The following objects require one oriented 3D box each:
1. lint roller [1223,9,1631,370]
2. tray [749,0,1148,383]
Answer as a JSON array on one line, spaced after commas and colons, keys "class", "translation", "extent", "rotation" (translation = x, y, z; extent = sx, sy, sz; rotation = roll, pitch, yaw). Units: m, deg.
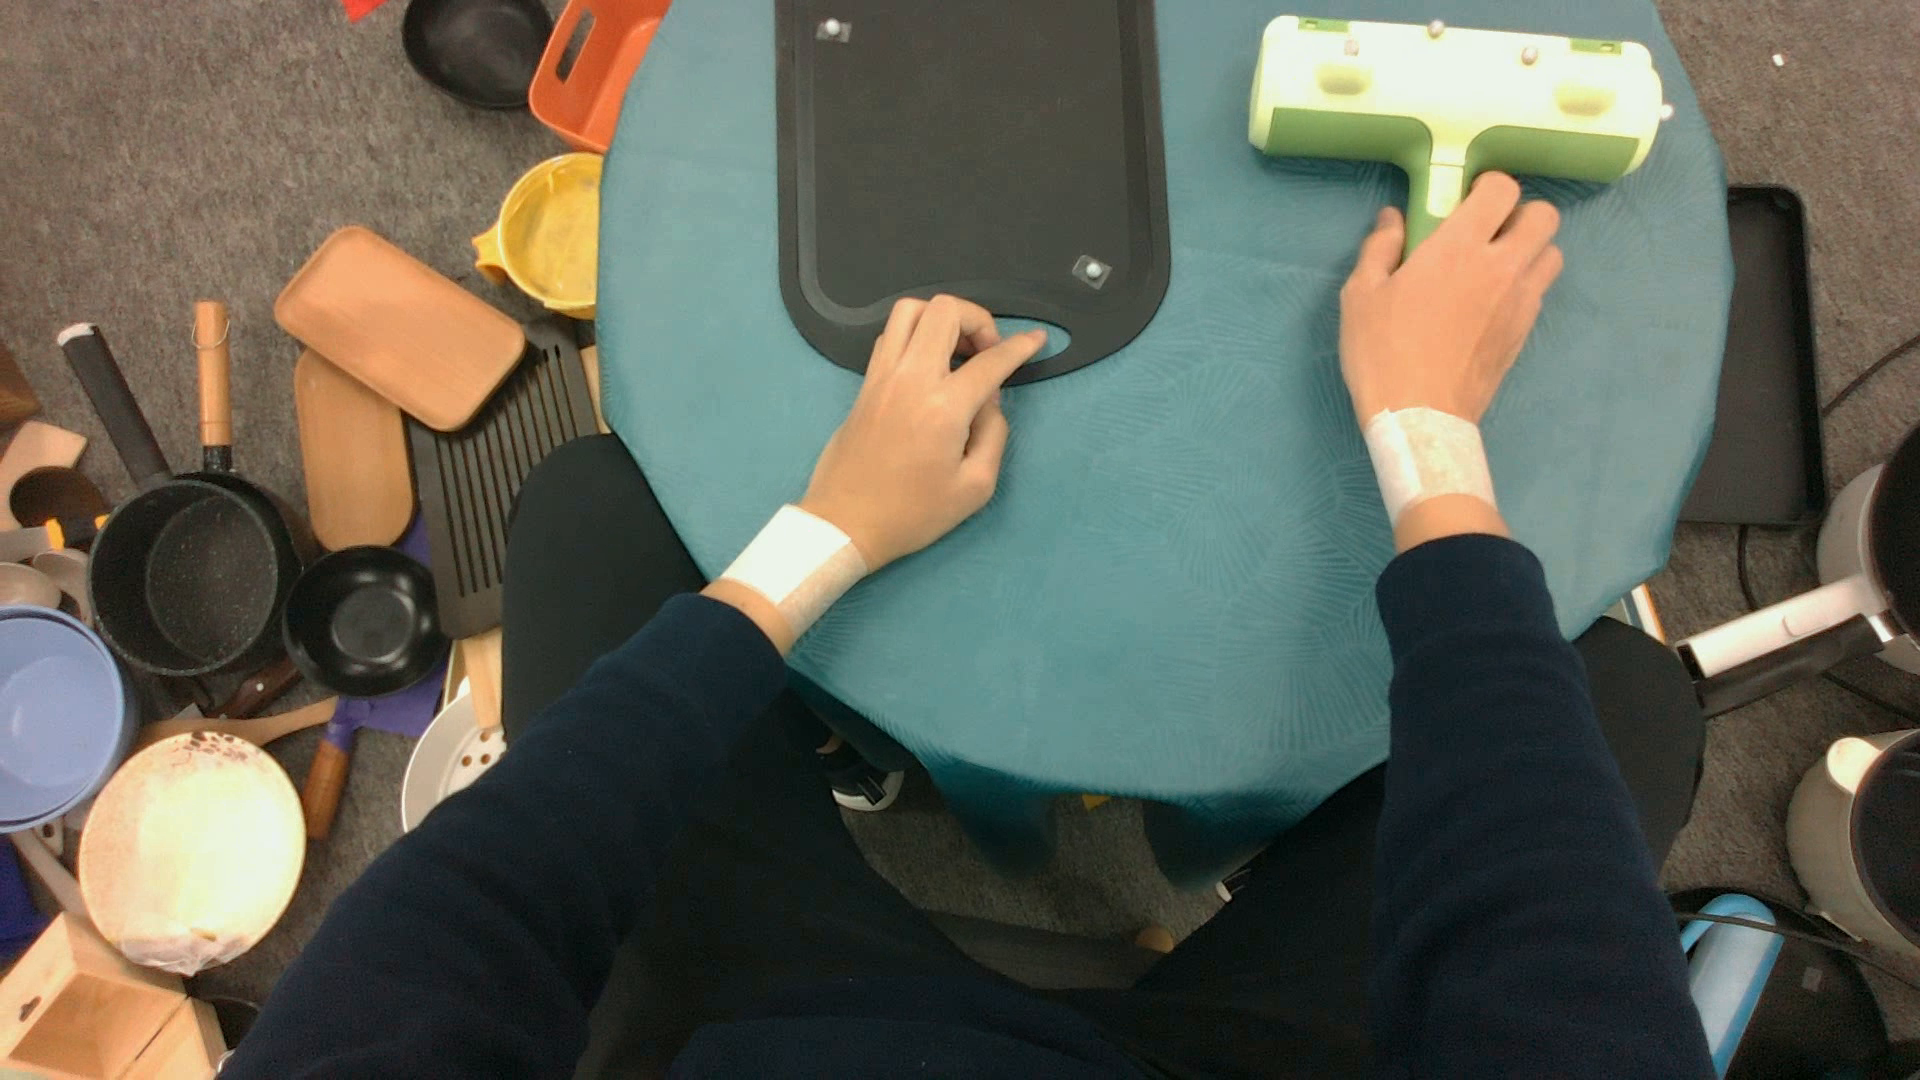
[{"class": "lint roller", "translation": [0.231, -0.182, 0.686], "extent": [0.198, 0.082, 0.184], "rotation": [4, 73, 5]}, {"class": "tray", "translation": [-0.010, -0.243, 0.750], "extent": [0.211, 0.010, 0.326], "rotation": [-3, 79, 2]}]
